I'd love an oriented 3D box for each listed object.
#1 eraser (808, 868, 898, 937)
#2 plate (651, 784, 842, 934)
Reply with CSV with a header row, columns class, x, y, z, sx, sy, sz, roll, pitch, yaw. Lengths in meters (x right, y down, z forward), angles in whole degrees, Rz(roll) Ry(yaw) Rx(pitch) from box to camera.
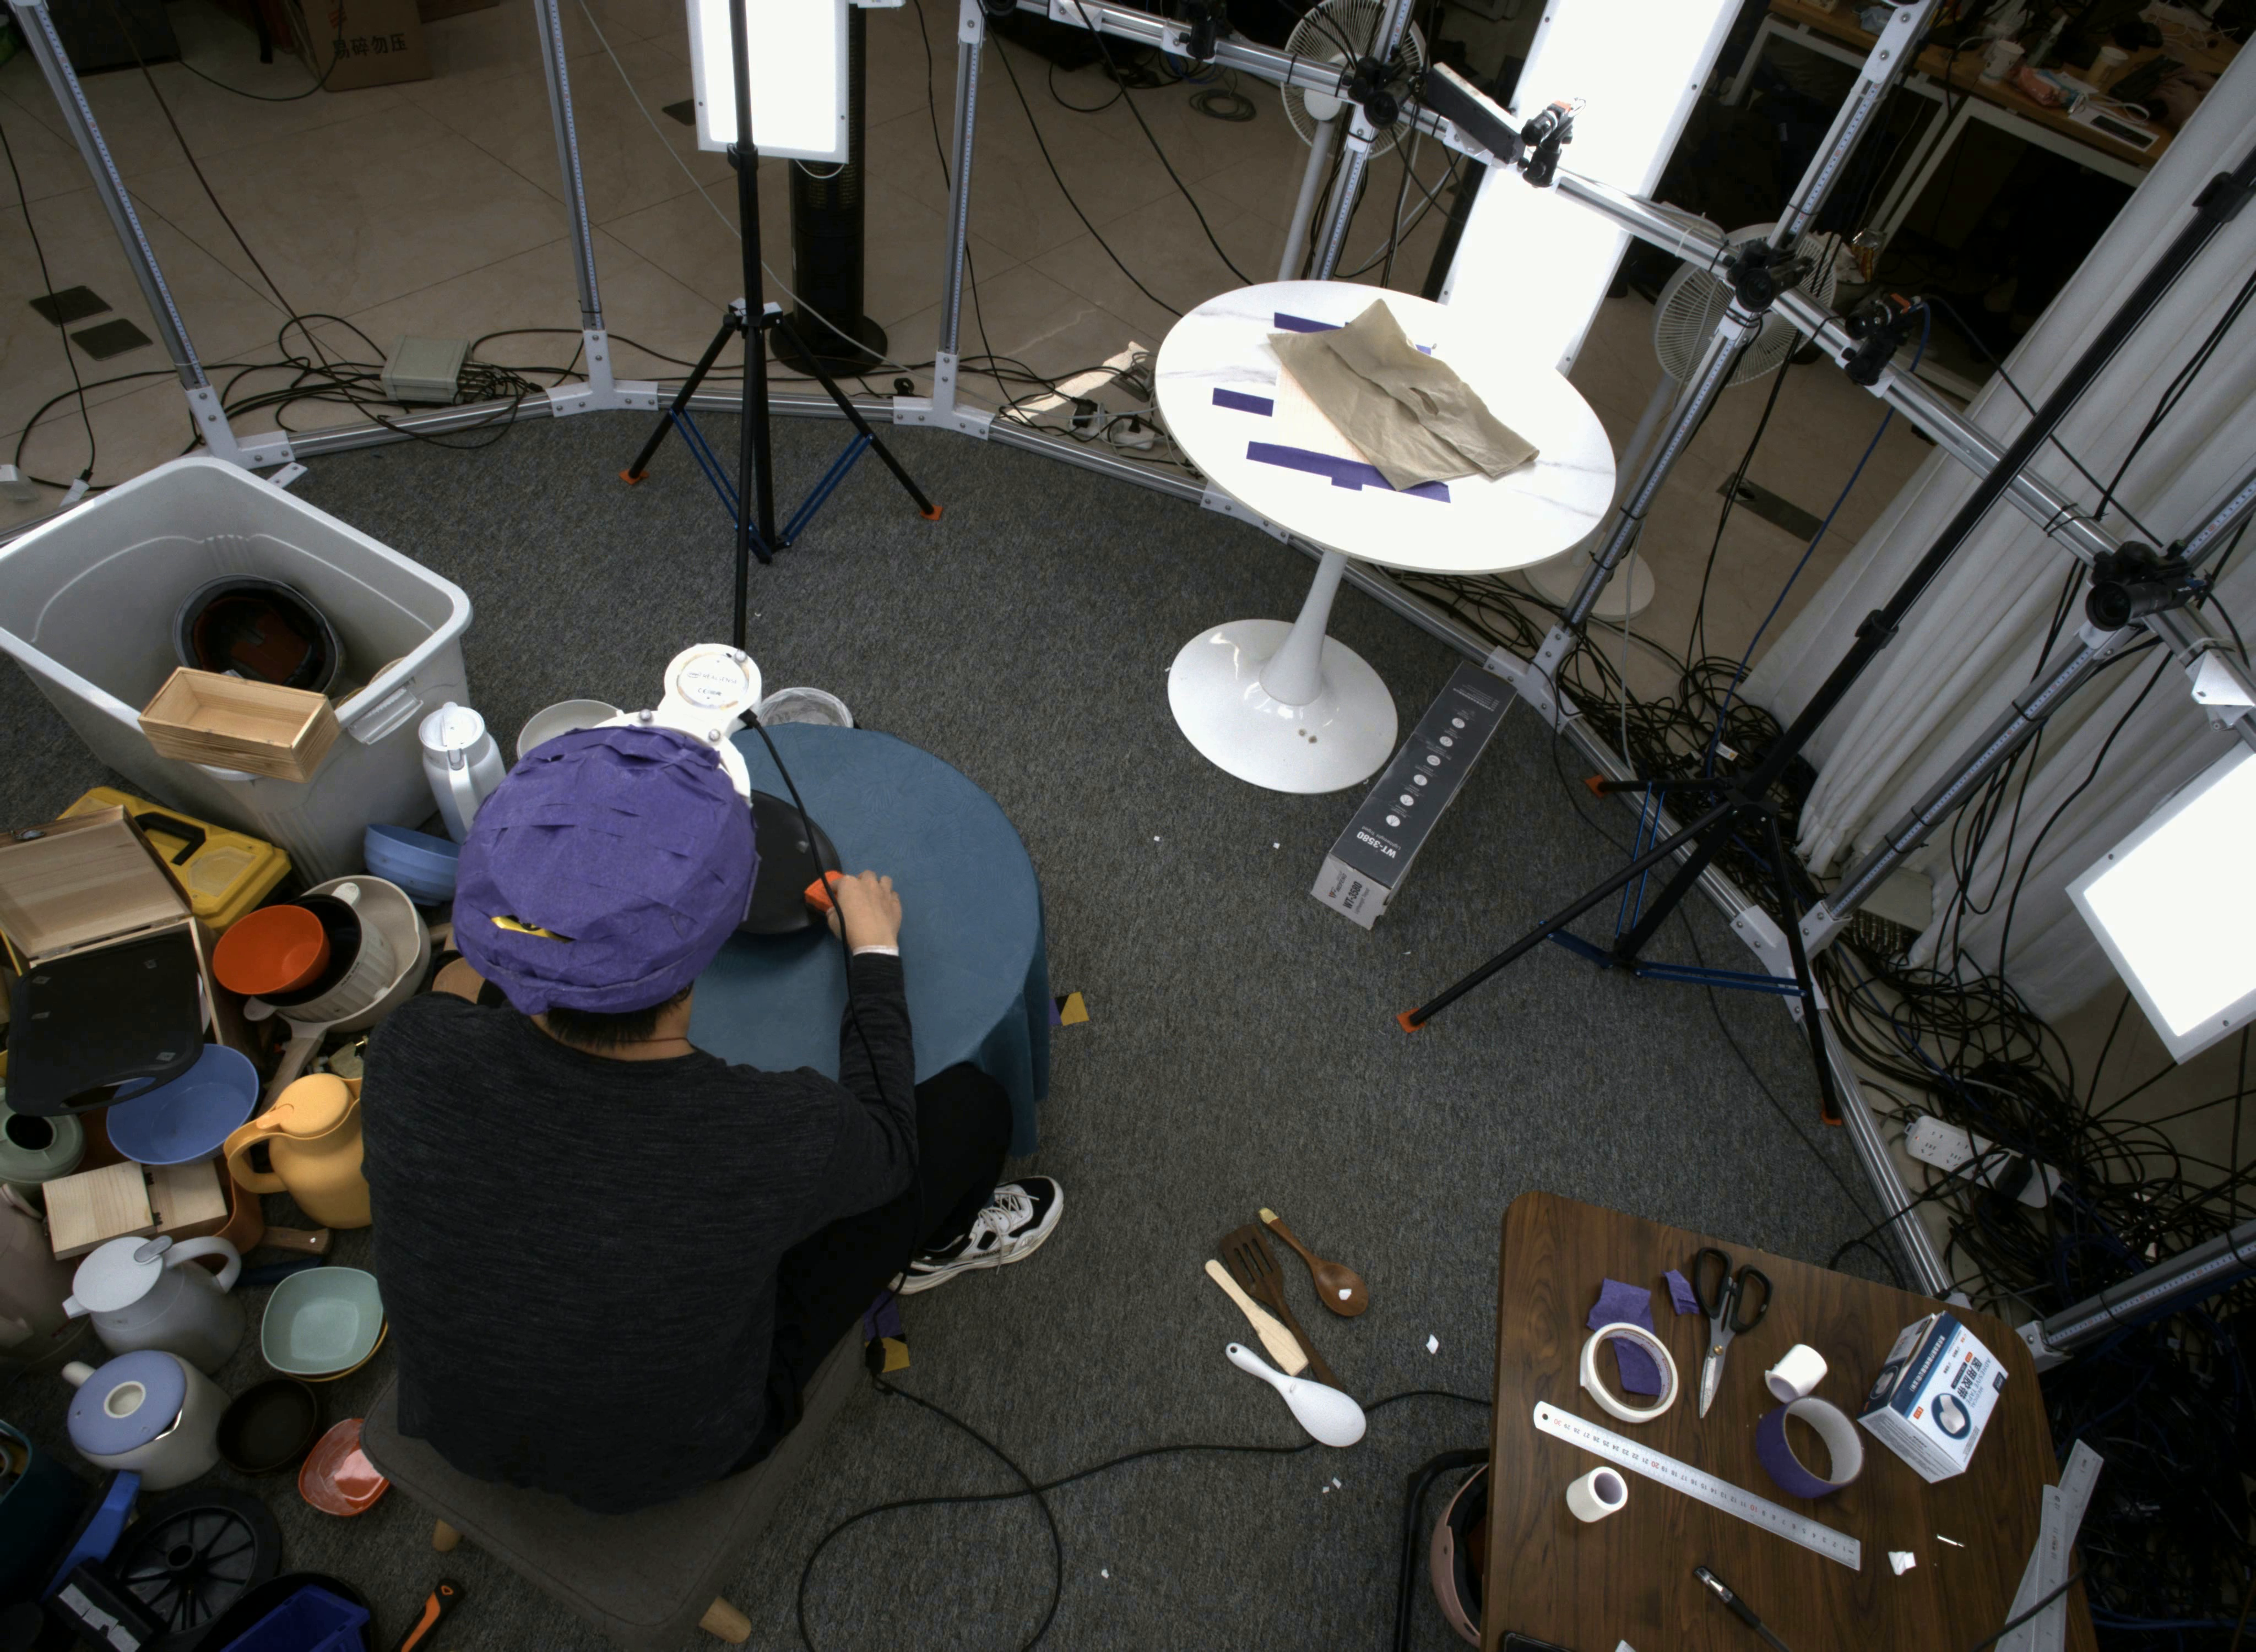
class,x,y,z,sx,sy,sz,roll,pitch,yaw
eraser,-0.344,0.093,1.625,0.105,0.023,0.059,26,42,17
plate,-0.477,0.042,1.618,0.248,0.023,0.239,25,37,-18
